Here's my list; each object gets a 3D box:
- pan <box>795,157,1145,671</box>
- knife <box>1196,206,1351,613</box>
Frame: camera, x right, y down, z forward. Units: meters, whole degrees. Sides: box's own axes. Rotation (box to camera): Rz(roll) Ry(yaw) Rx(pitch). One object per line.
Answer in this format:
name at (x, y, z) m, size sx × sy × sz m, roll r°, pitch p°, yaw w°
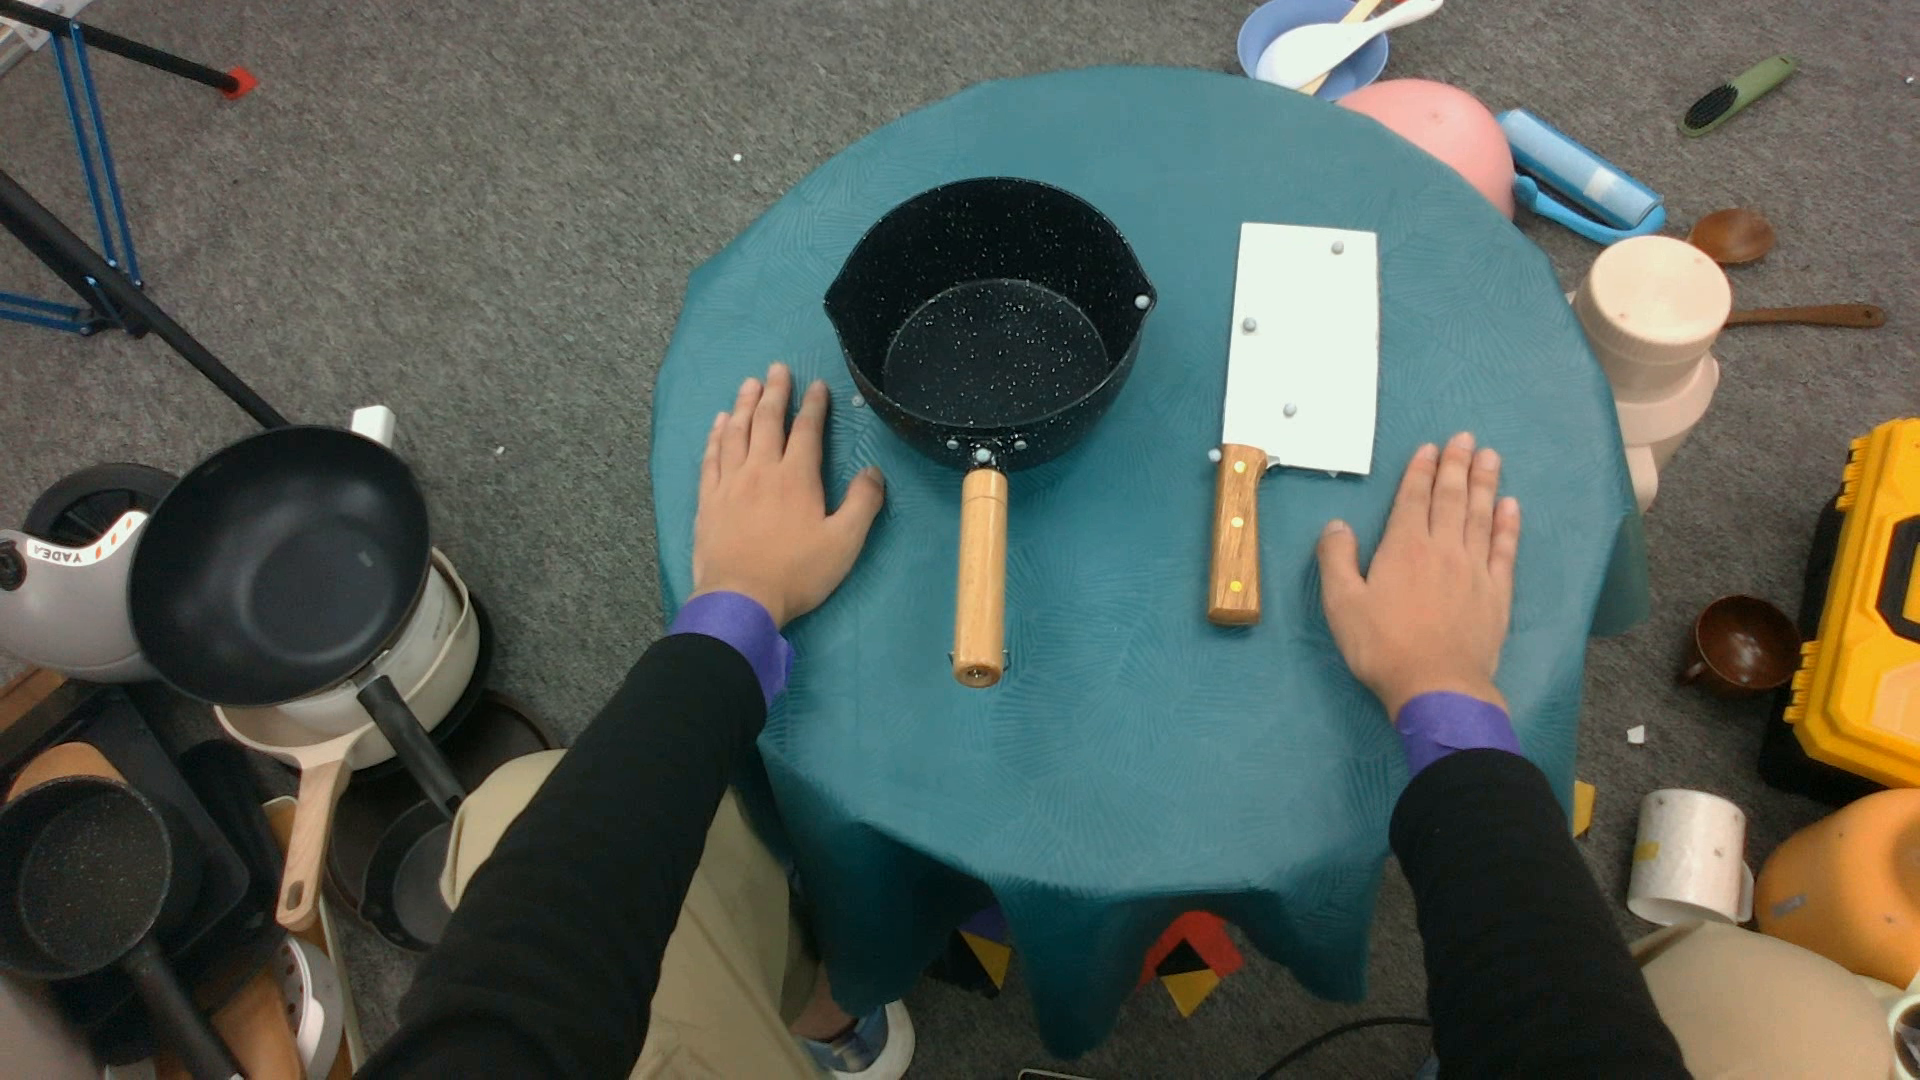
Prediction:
pan at (0.008, -0.070, 0.807) m, size 0.207 × 0.108 × 0.344 m, roll -2°, pitch 62°, yaw 3°
knife at (0.195, -0.090, 0.854) m, size 0.093 × 0.021 × 0.307 m, roll 6°, pitch 62°, yaw 6°
